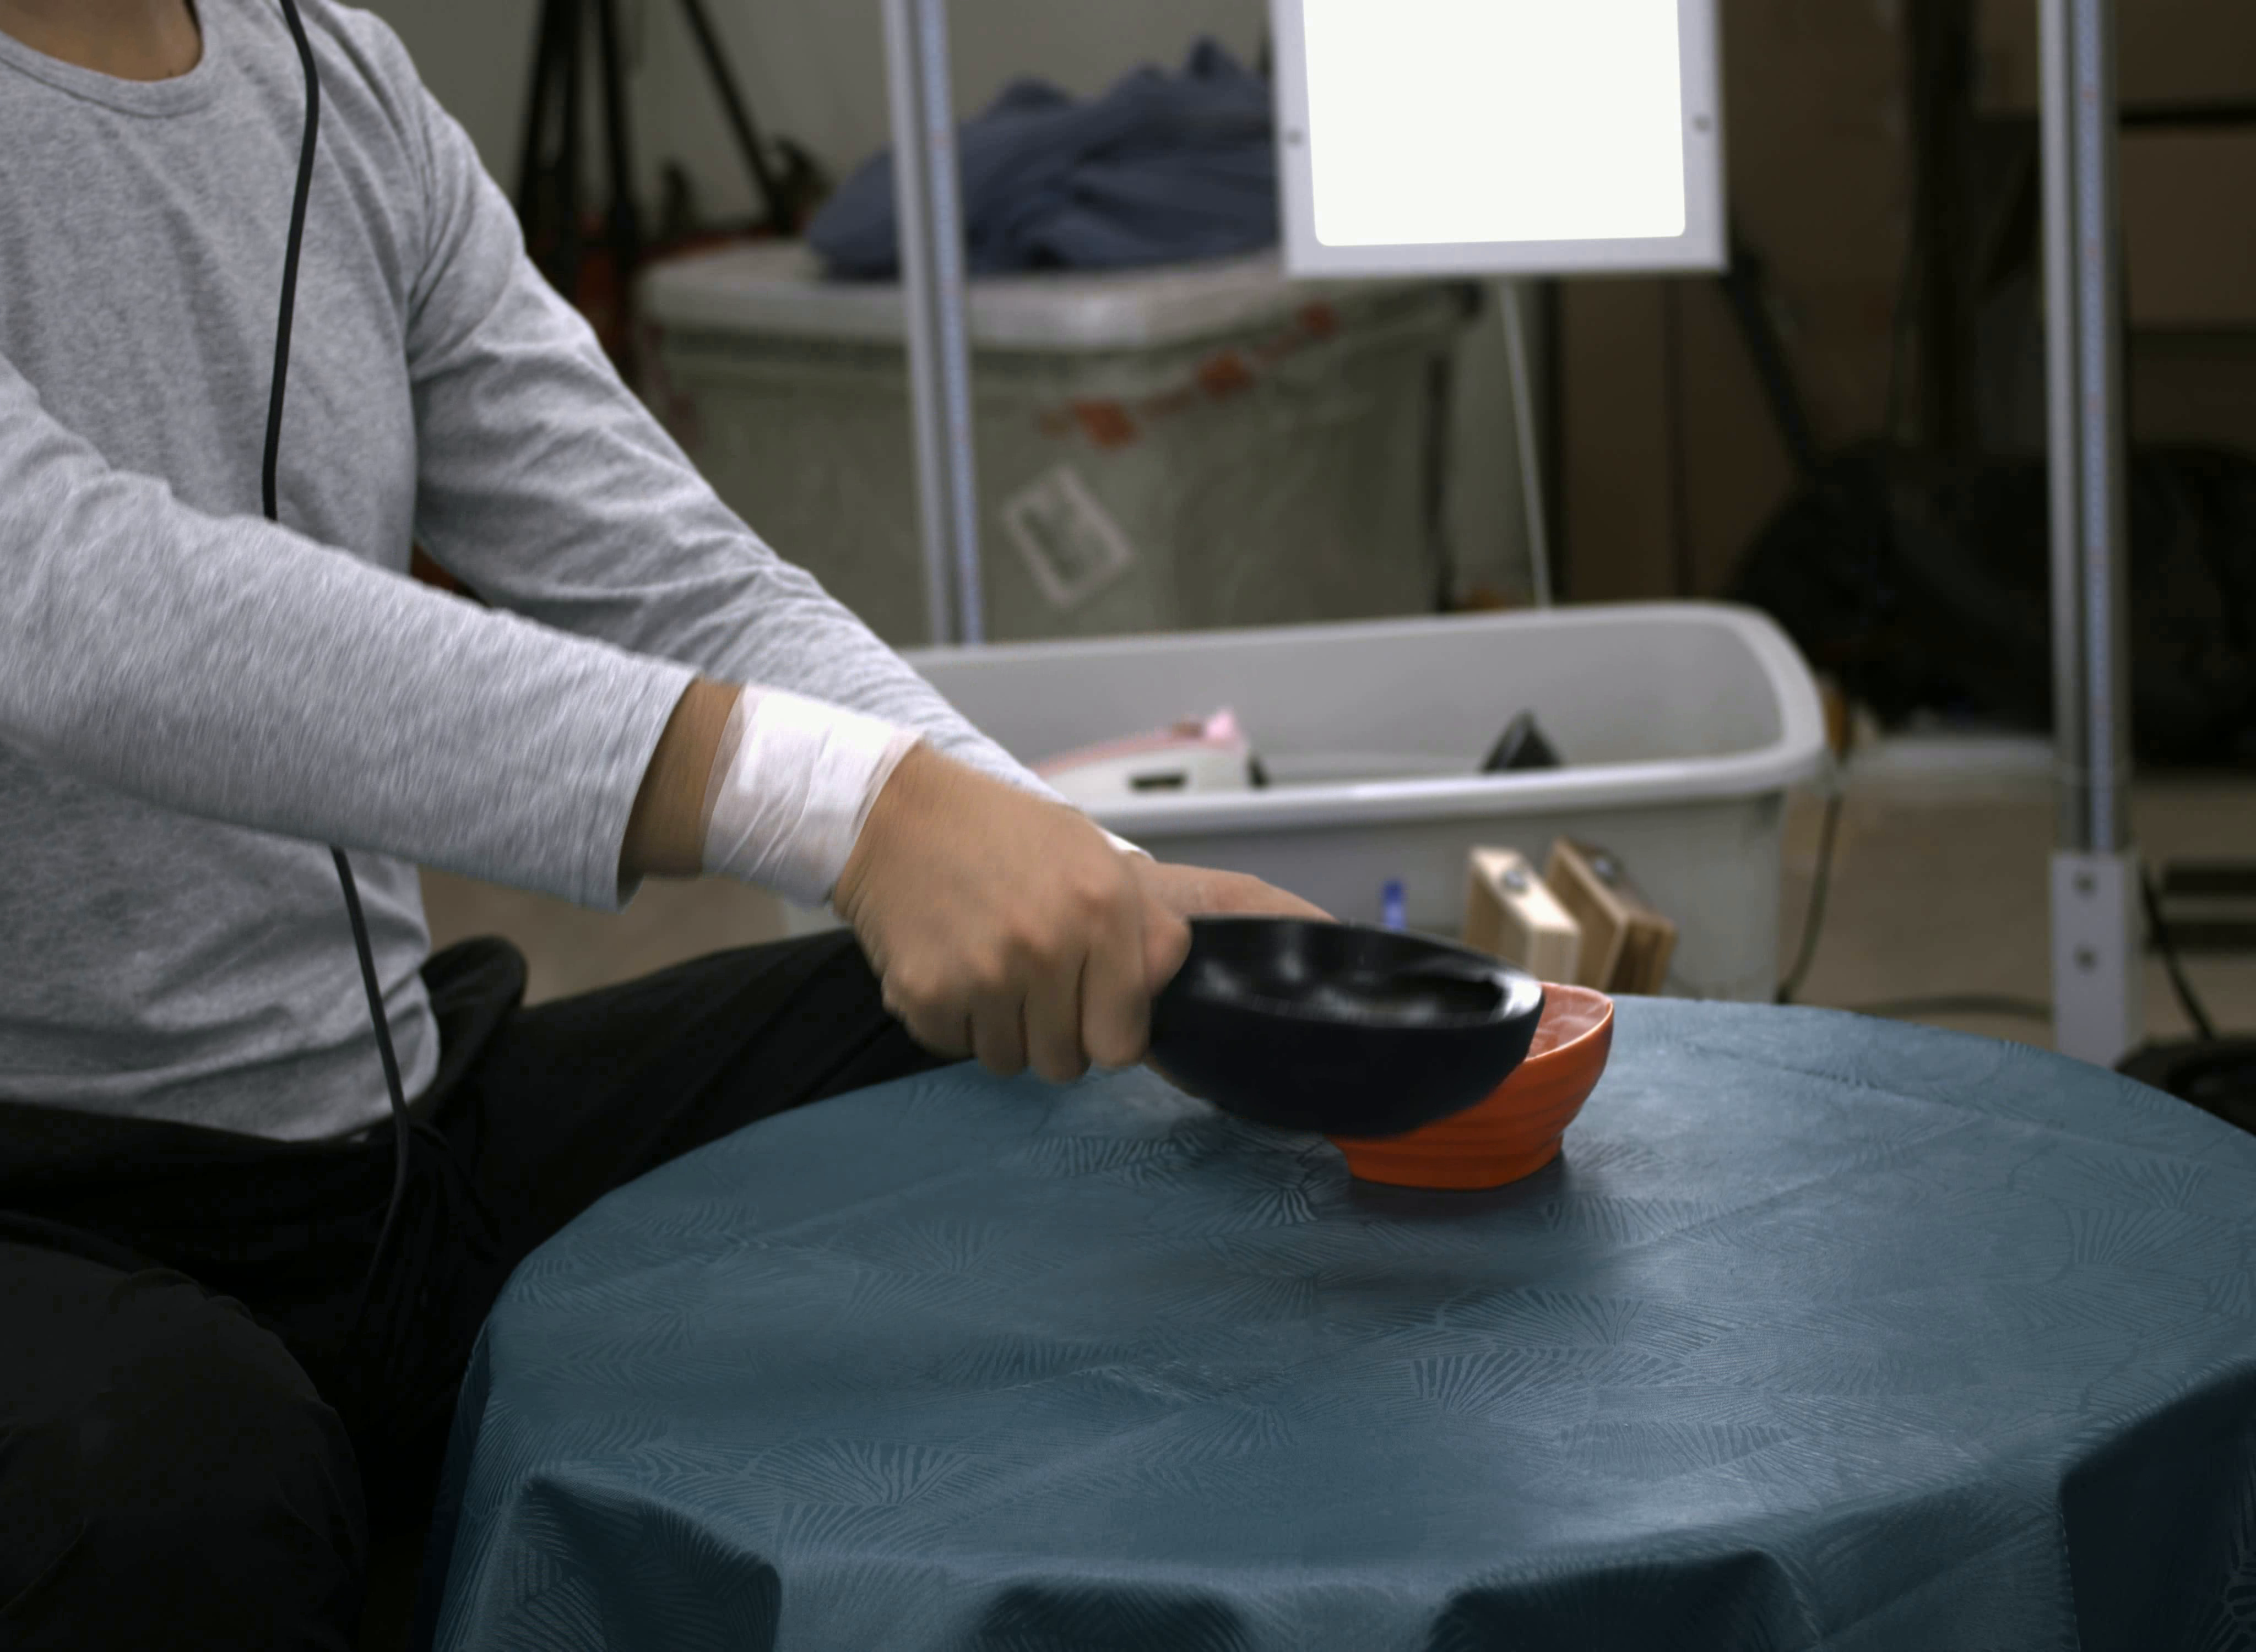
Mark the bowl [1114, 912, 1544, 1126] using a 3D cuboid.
[{"bbox_3d":[0.063,0.065,1.762,0.139,0.050,0.140,5,9,-2],"label":"bowl"}]

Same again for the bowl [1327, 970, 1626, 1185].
[{"bbox_3d":[0.115,0.088,1.901,0.118,0.051,0.119,-3,16,-1],"label":"bowl"}]
